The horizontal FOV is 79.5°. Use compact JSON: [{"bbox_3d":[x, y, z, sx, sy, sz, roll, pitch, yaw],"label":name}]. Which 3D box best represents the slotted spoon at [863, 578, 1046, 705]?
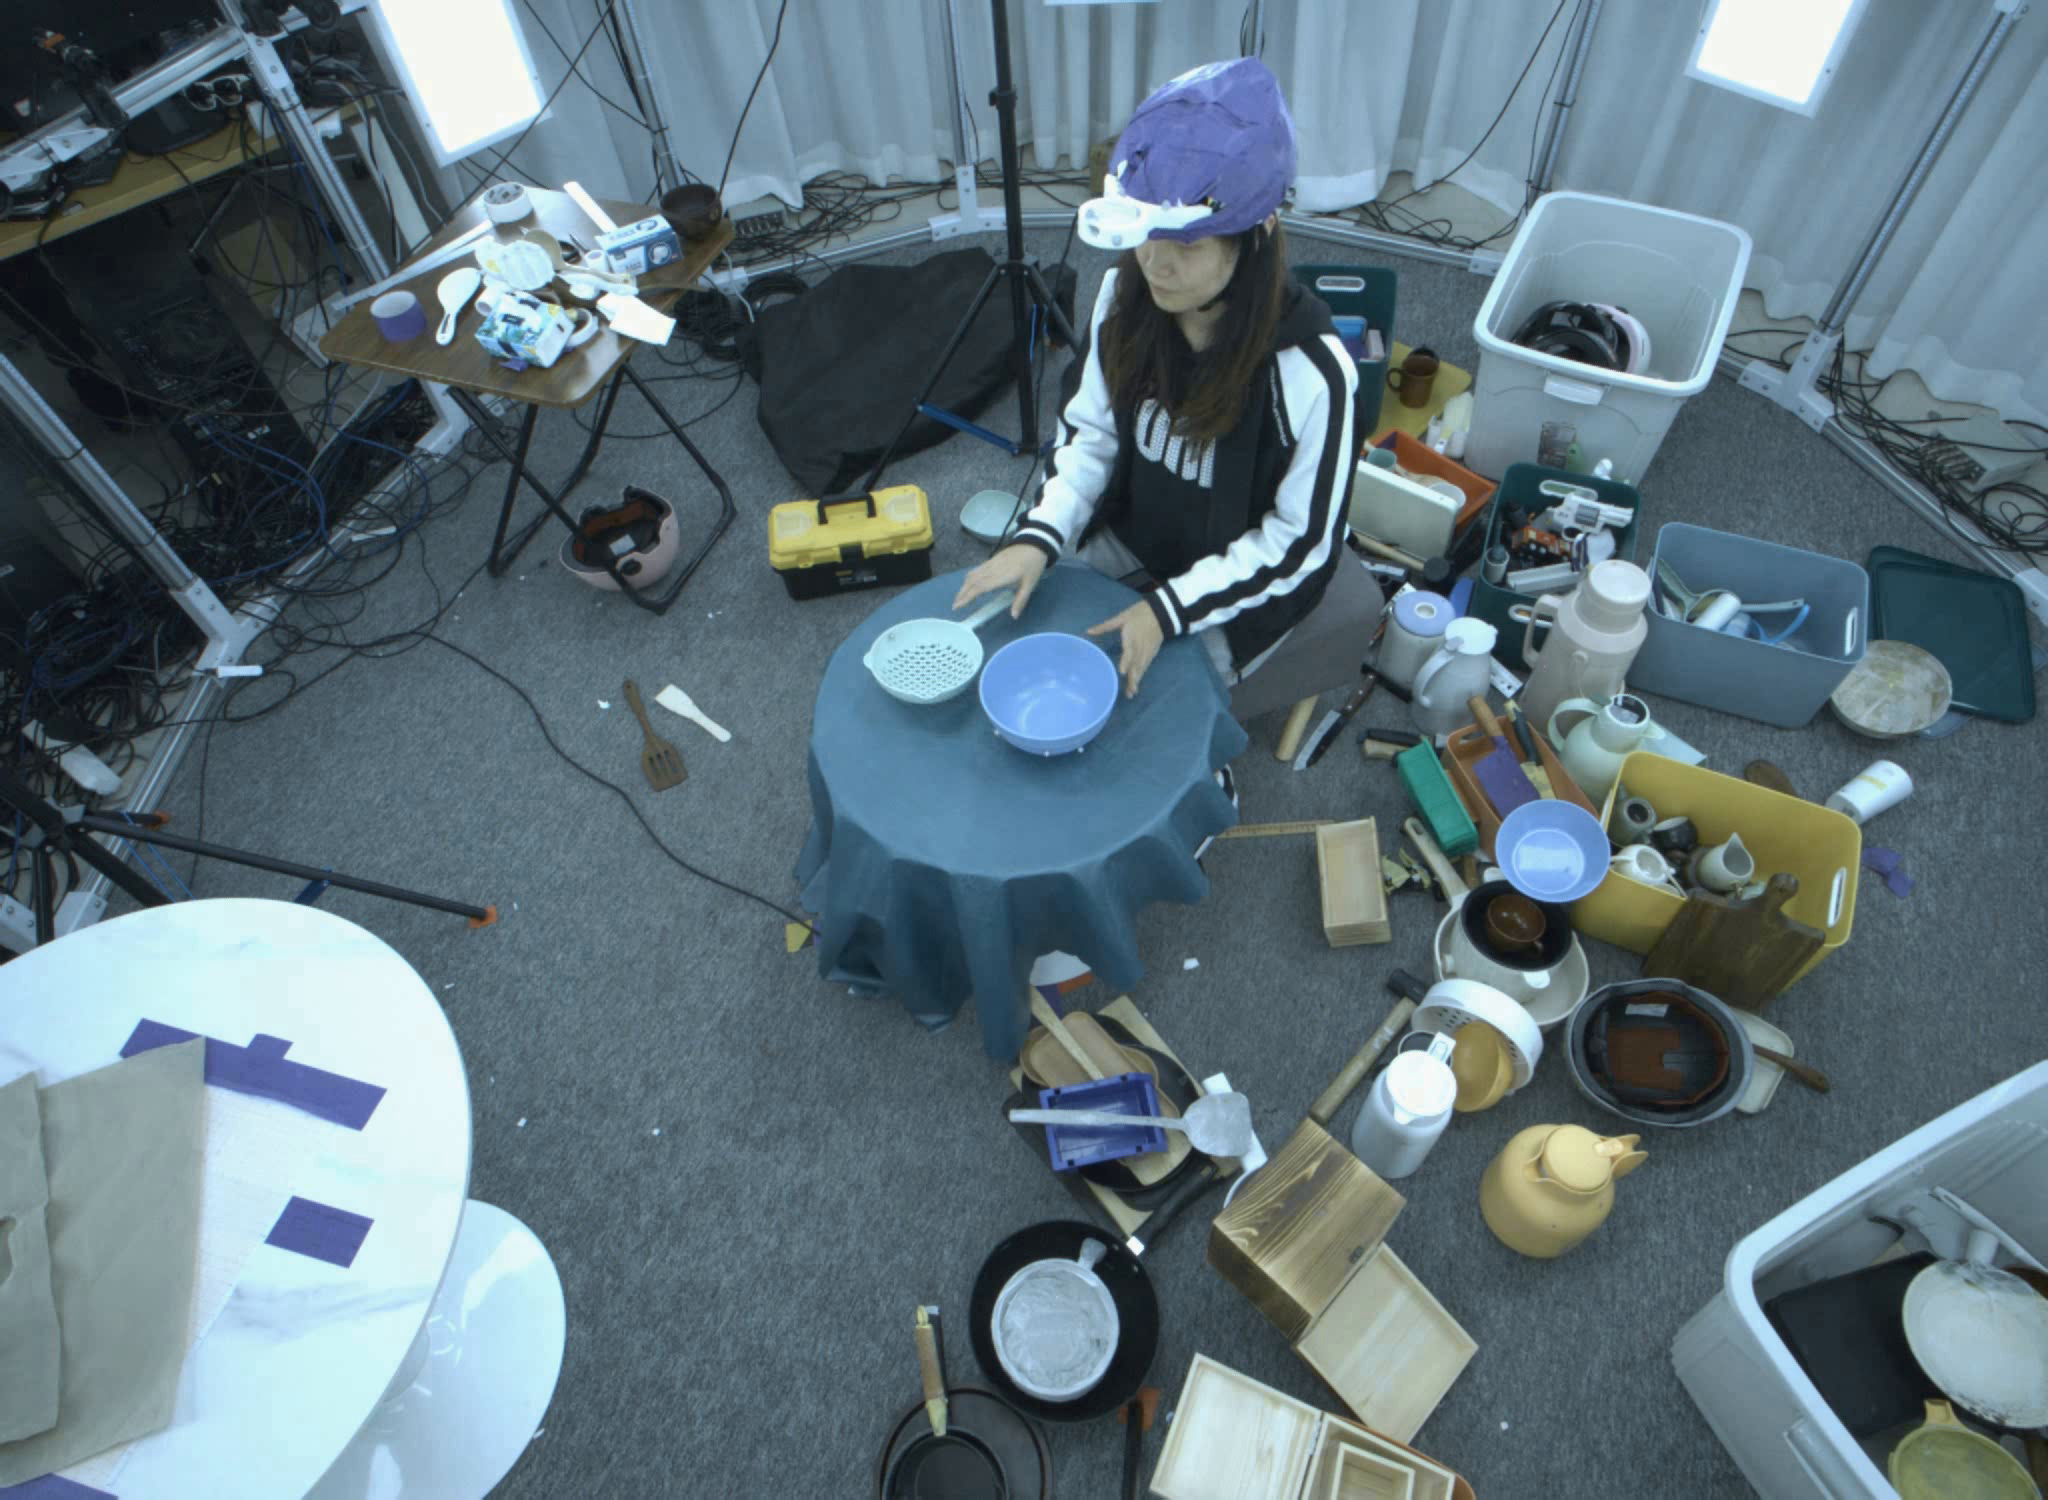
[{"bbox_3d":[-0.084,-0.184,1.885,0.166,0.076,0.361,32,60,23],"label":"slotted spoon"}]

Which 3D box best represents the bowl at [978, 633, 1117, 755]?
[{"bbox_3d":[0.036,-0.065,1.775,0.196,0.096,0.194,-1,54,2],"label":"bowl"}]
